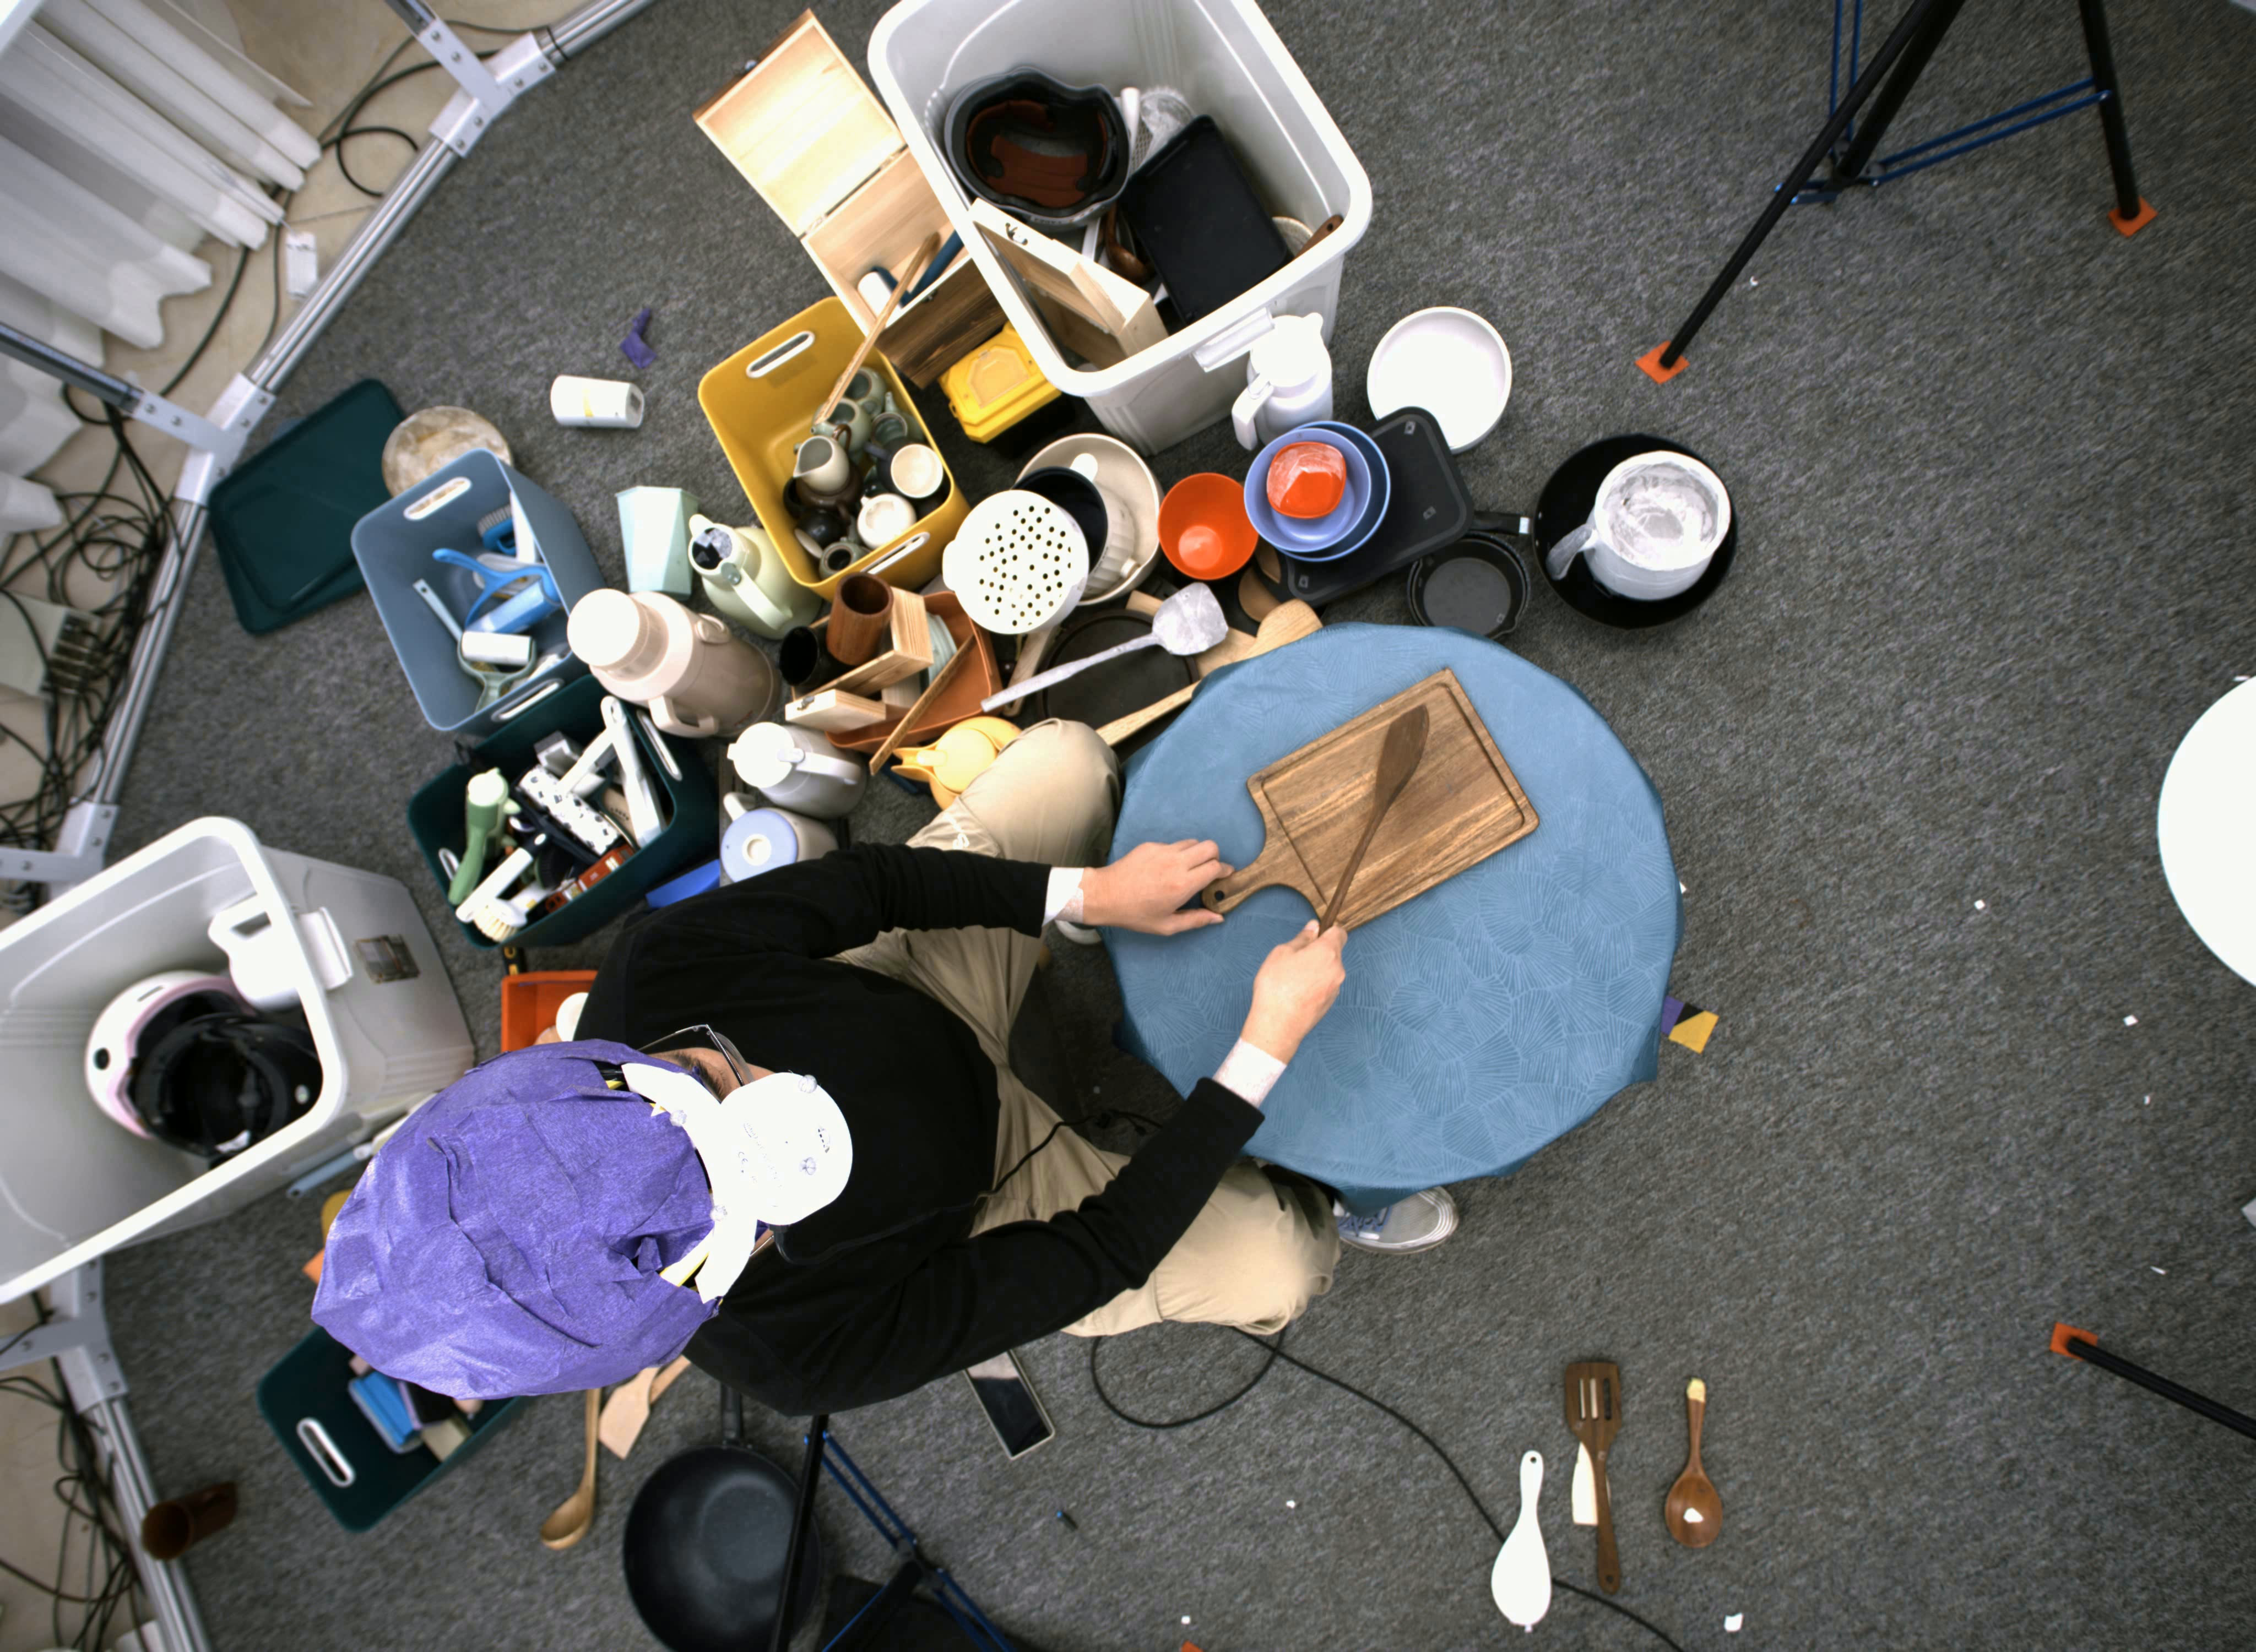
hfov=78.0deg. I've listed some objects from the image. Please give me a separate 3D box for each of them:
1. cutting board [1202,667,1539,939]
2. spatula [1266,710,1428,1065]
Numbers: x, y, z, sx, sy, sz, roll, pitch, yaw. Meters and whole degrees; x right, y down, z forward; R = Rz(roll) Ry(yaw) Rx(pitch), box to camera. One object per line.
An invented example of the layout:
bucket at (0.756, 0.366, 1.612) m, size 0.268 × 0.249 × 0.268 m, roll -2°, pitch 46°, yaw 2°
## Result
cutting board at (0.233, -0.002, 1.461) m, size 0.354 × 0.023 × 0.200 m, roll -30°, pitch 82°, yaw 8°
spatula at (0.215, 0.057, 1.375) m, size 0.016 × 0.096 × 0.384 m, roll 26°, pitch 85°, yaw -10°
